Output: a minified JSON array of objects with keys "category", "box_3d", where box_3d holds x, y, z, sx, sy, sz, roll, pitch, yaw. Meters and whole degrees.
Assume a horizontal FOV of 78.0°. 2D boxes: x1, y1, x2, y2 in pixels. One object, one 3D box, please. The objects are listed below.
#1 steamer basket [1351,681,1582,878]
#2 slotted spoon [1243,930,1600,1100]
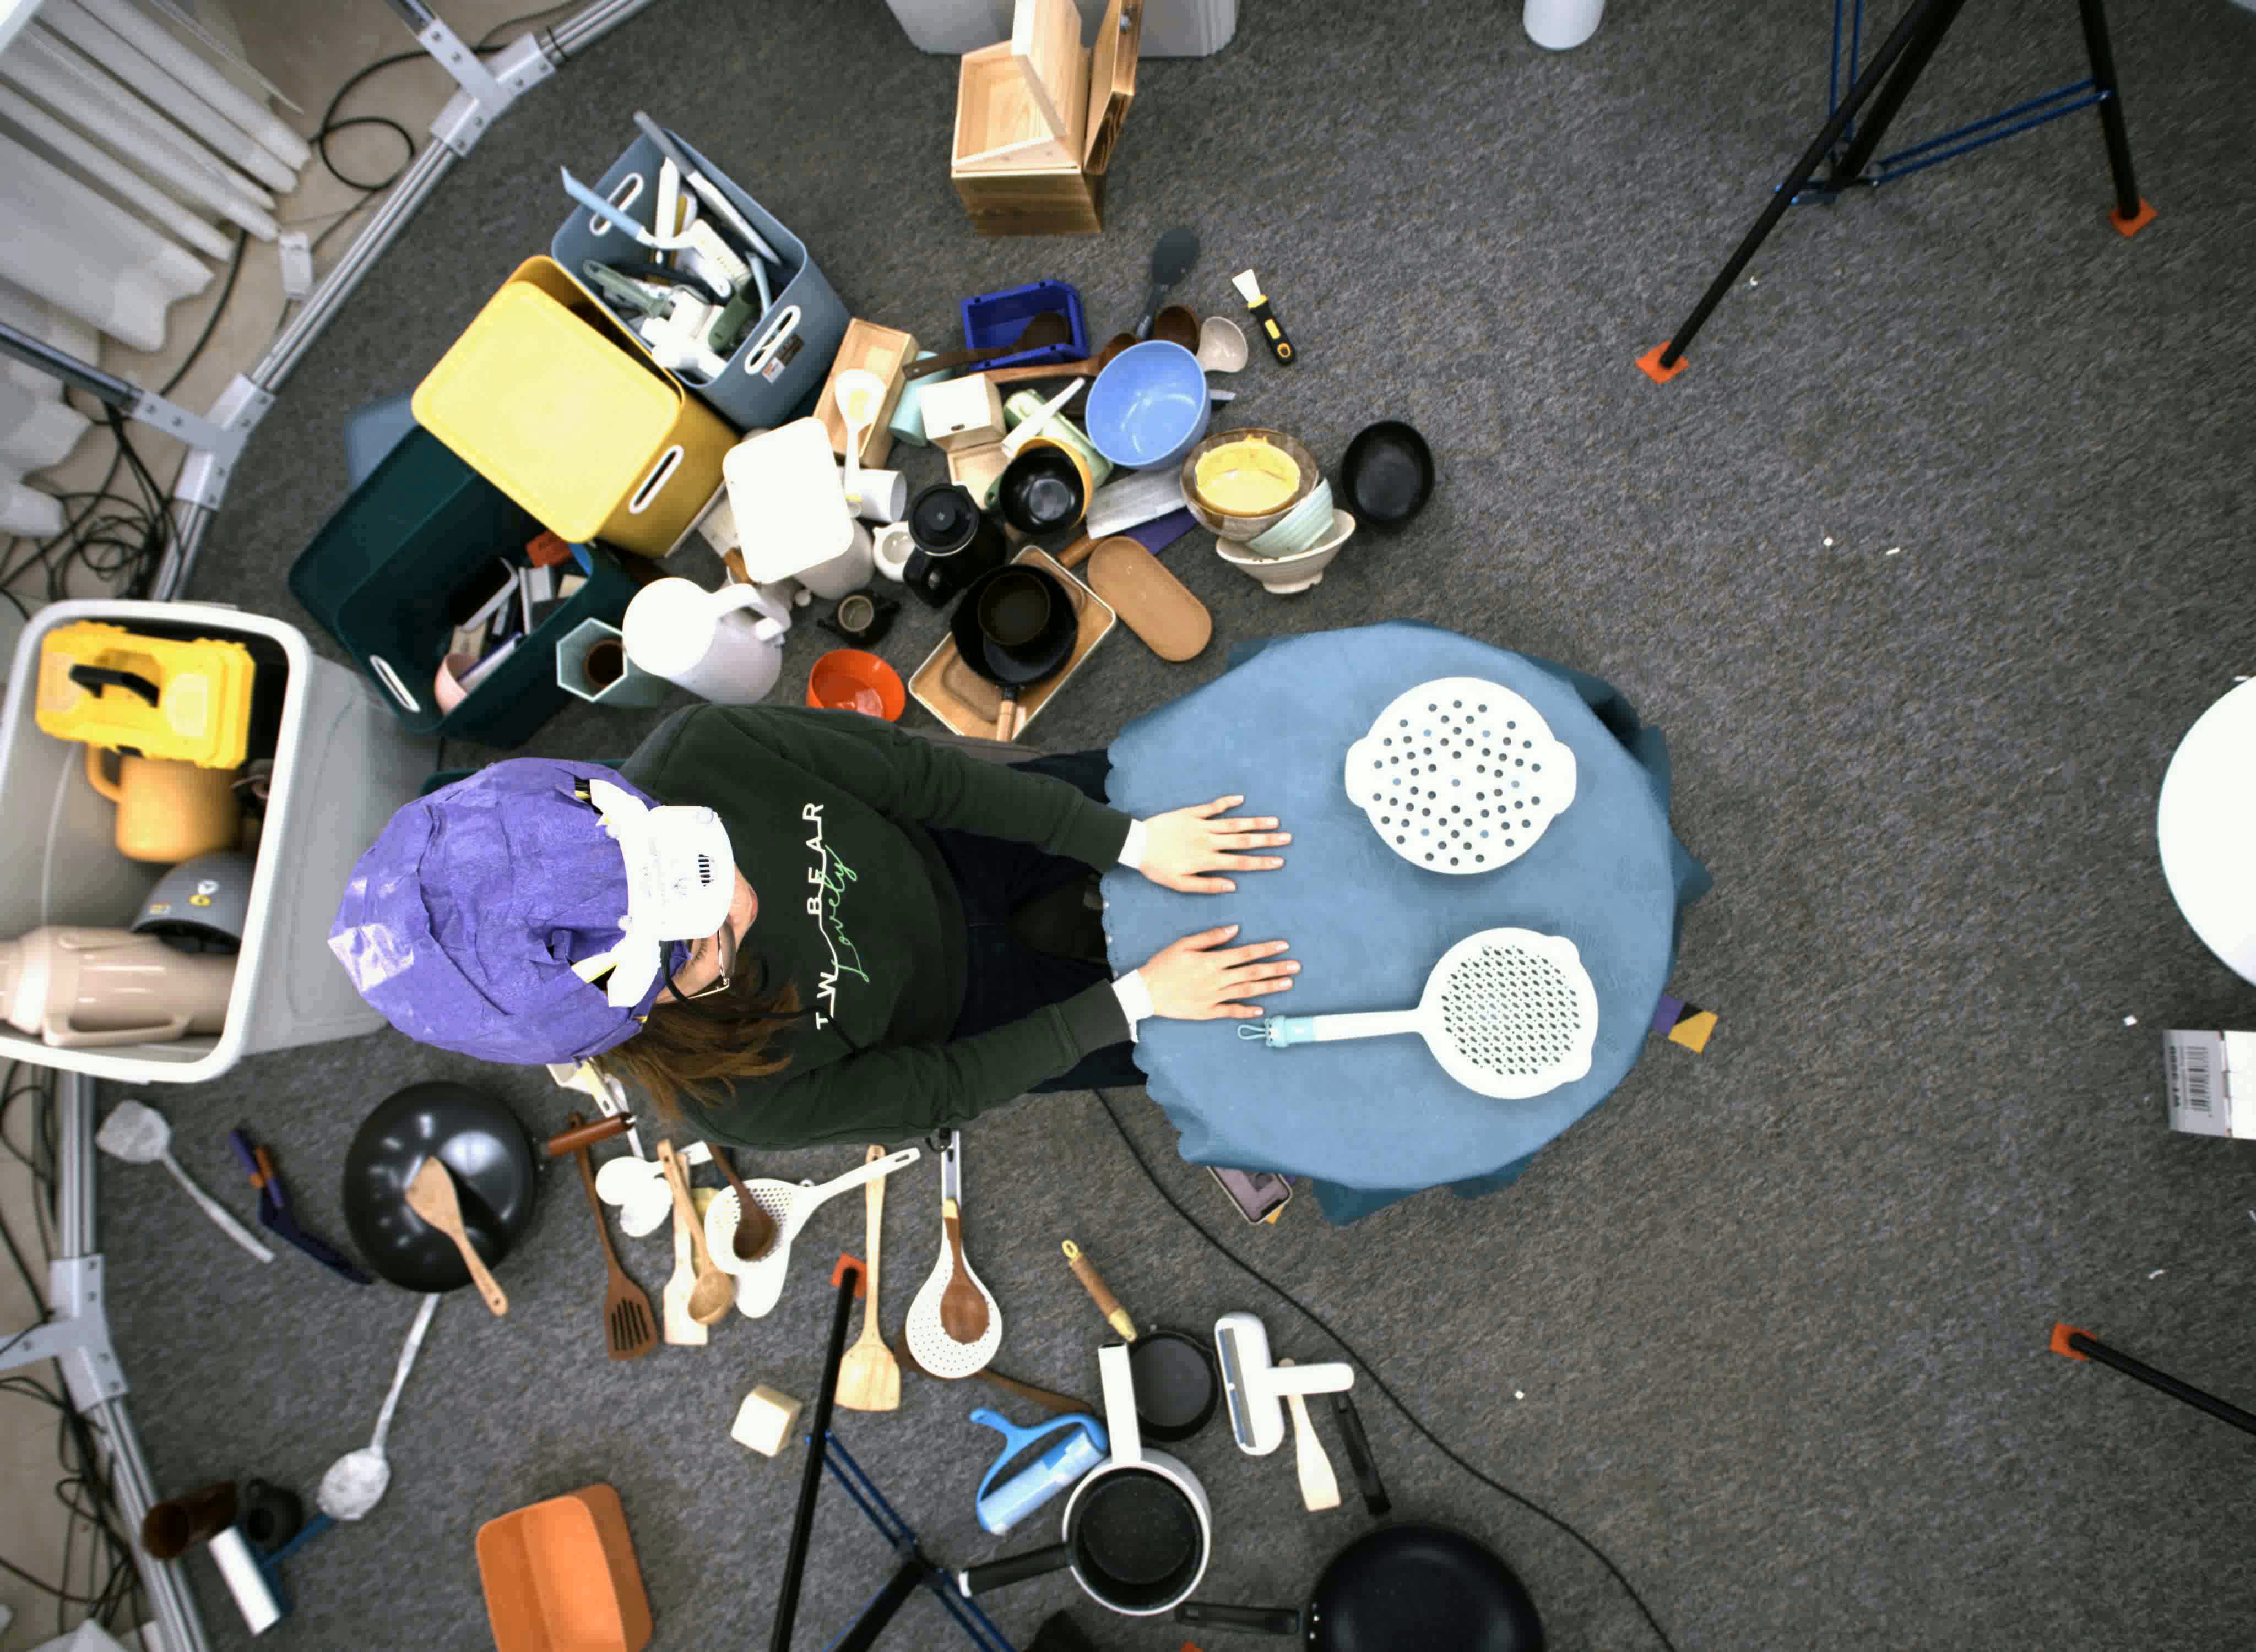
[{"category":"steamer basket","box_3d":[0.349,-0.048,1.426,0.231,0.069,0.201,0,85,11]},{"category":"slotted spoon","box_3d":[0.294,0.200,1.419,0.360,0.075,0.168,-6,84,10]}]
